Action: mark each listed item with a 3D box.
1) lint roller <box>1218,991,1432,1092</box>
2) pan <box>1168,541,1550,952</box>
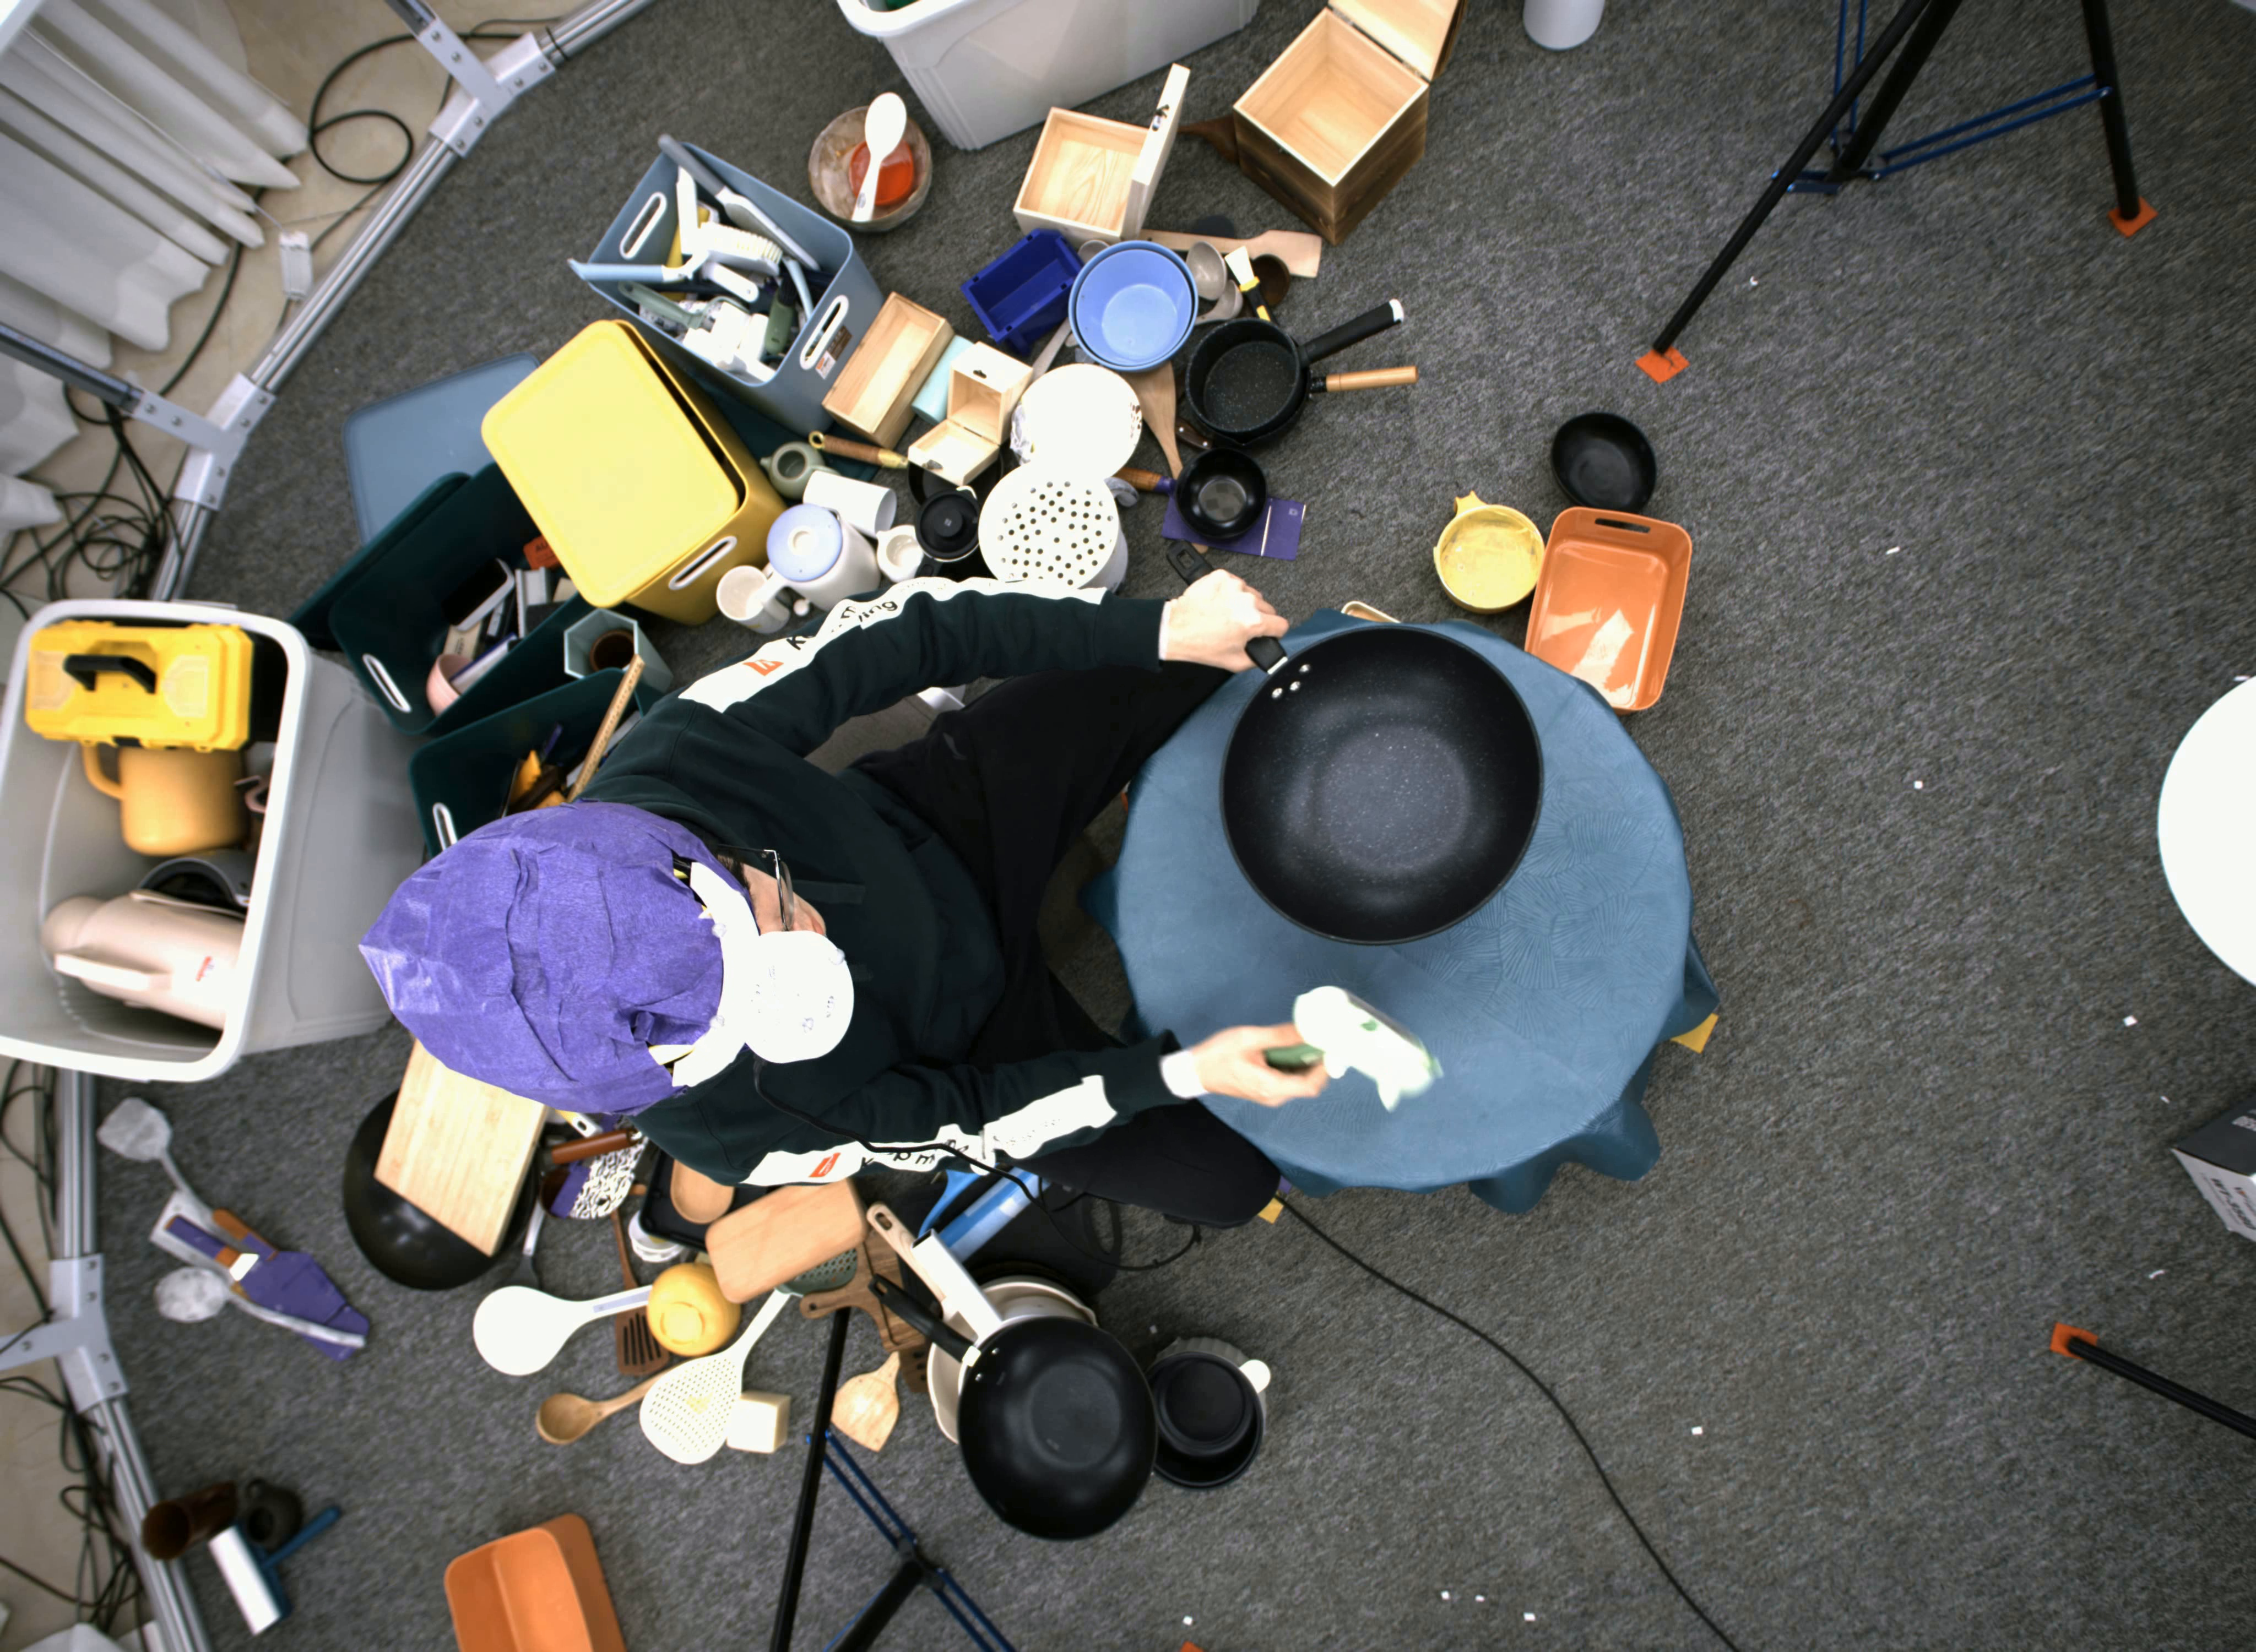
[{"bbox_3d":[0.170,0.217,1.312,0.186,0.199,0.080,-22,64,28],"label":"lint roller"},{"bbox_3d":[0.198,-0.095,1.344,0.313,0.112,0.472,-41,70,11],"label":"pan"}]
